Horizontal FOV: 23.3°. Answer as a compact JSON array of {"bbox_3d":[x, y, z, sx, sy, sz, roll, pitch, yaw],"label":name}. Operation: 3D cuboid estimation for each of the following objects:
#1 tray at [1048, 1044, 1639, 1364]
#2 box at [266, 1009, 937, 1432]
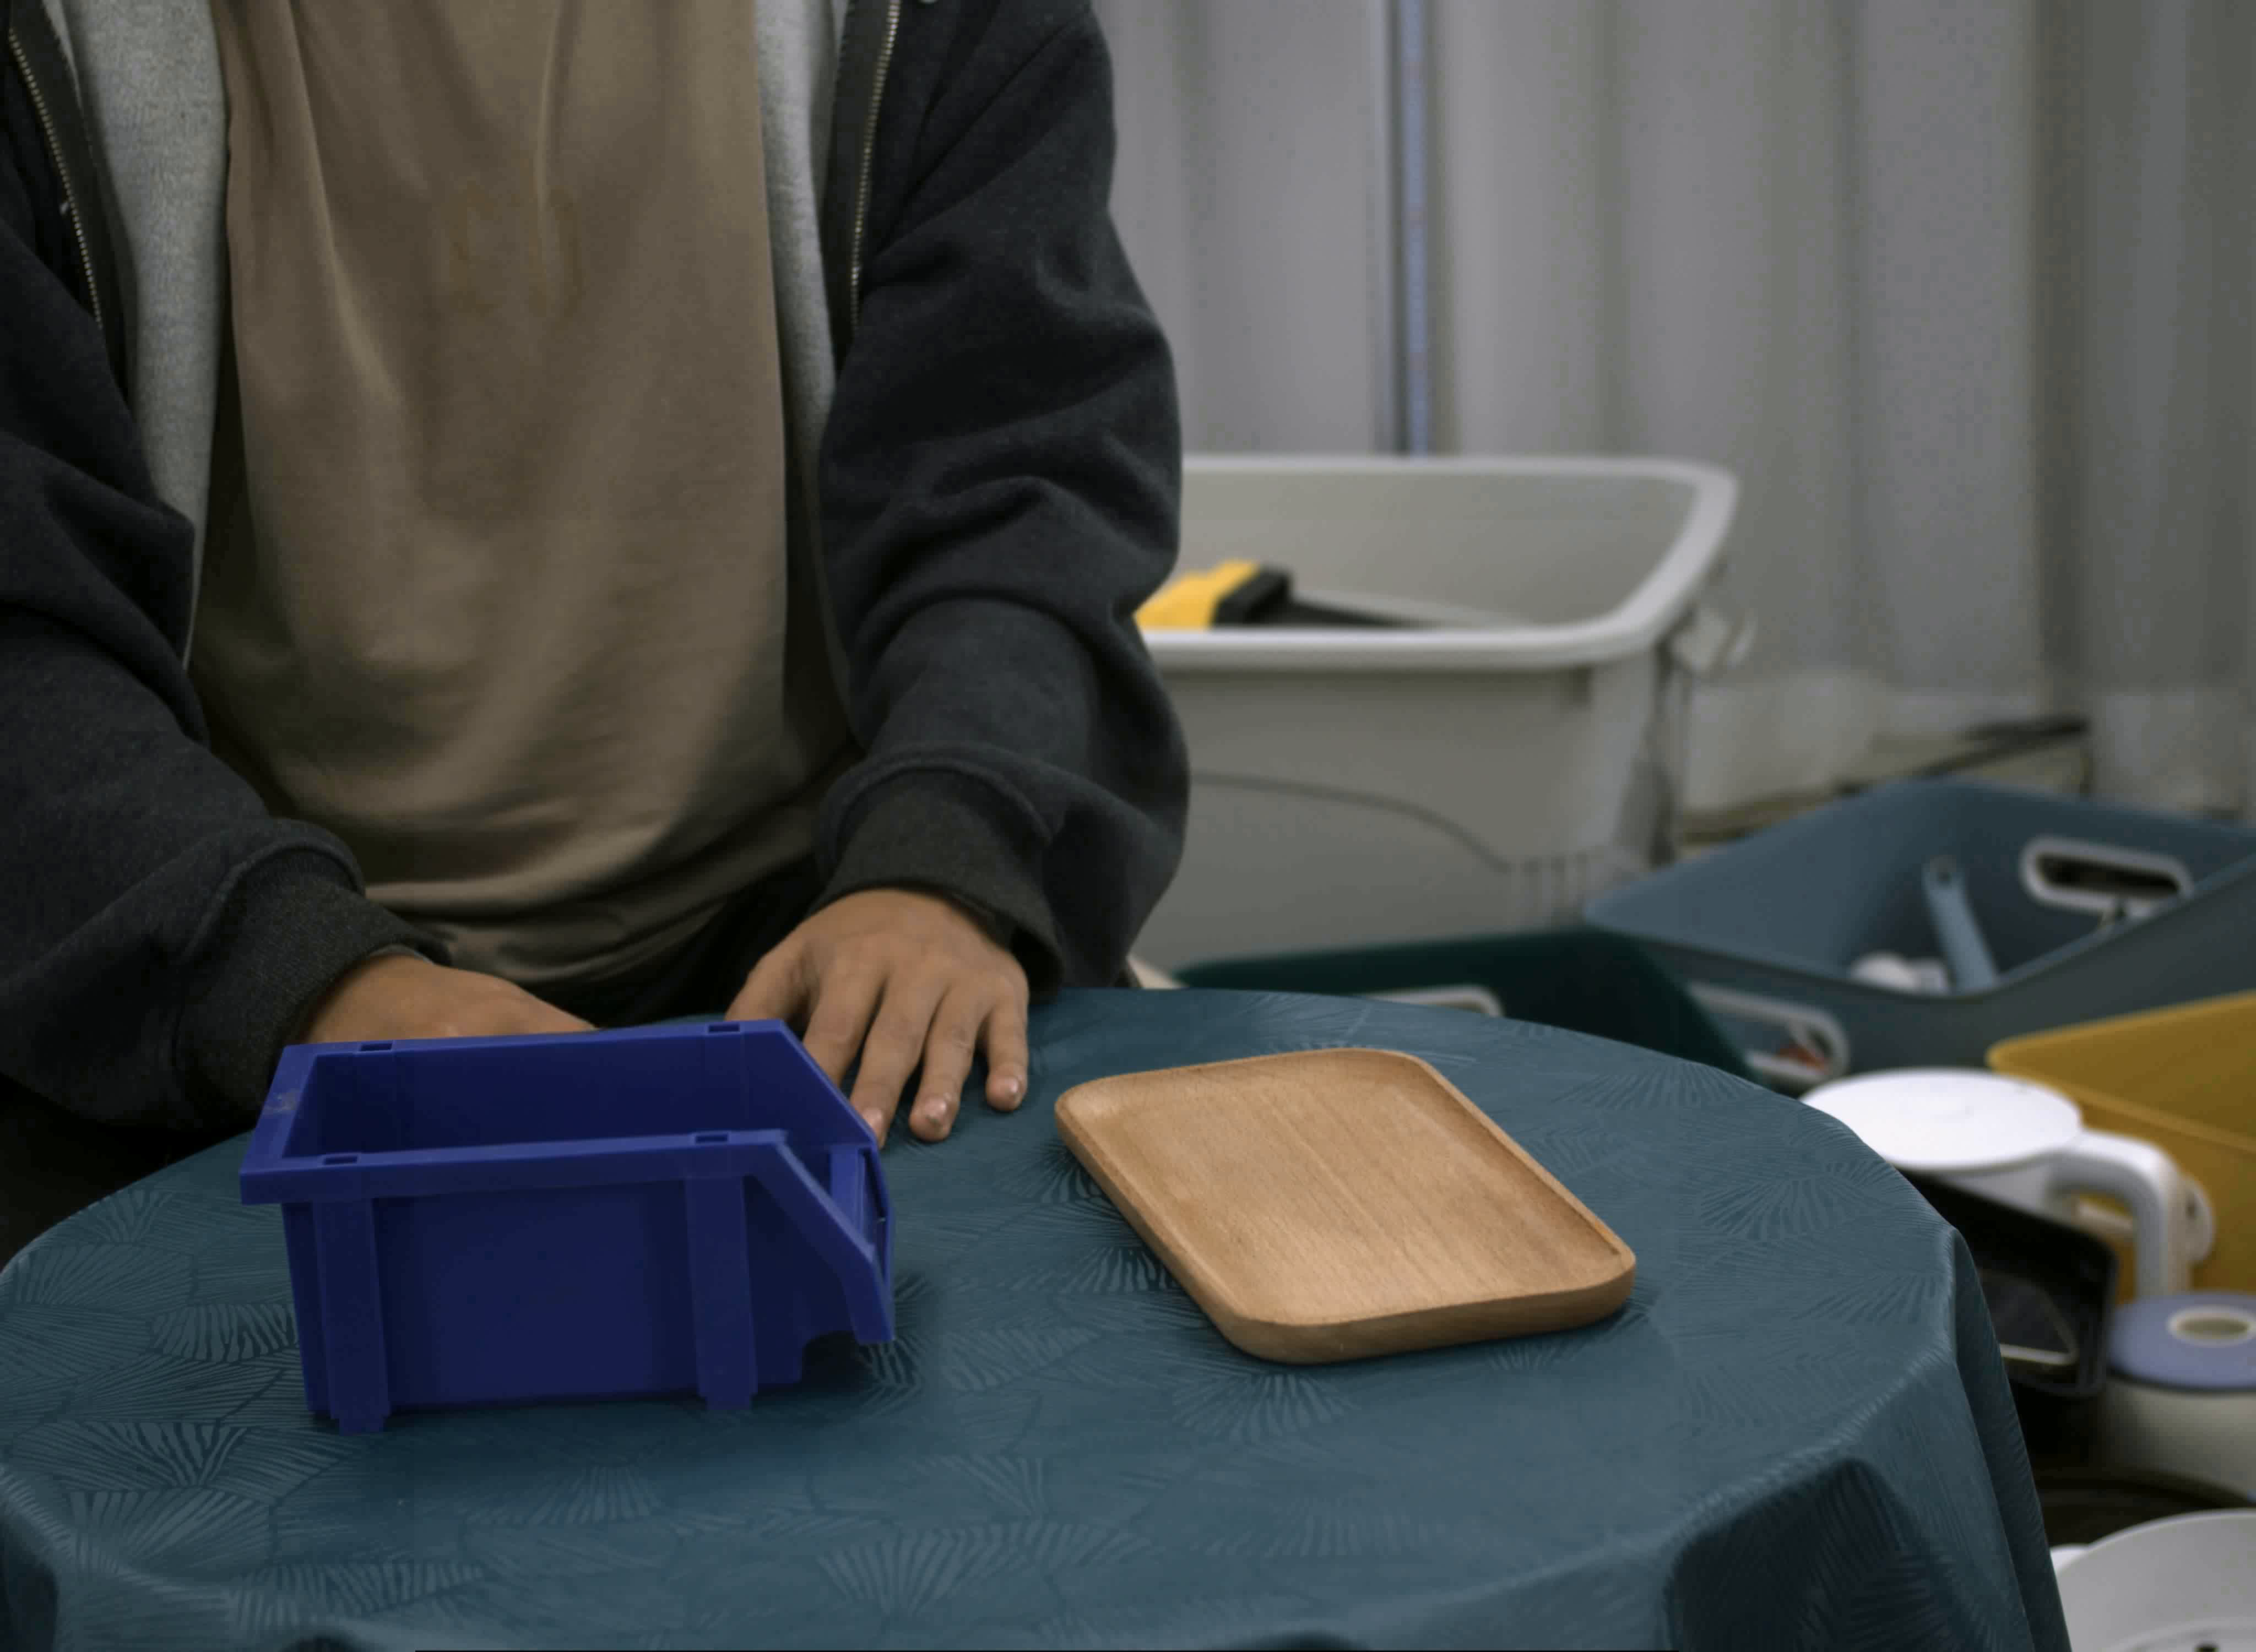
[{"bbox_3d":[0.061,0.113,1.676,0.130,0.023,0.252,-4,14,-14],"label":"tray"},{"bbox_3d":[-0.148,0.112,1.596,0.179,0.081,0.125,-6,14,2],"label":"box"}]
